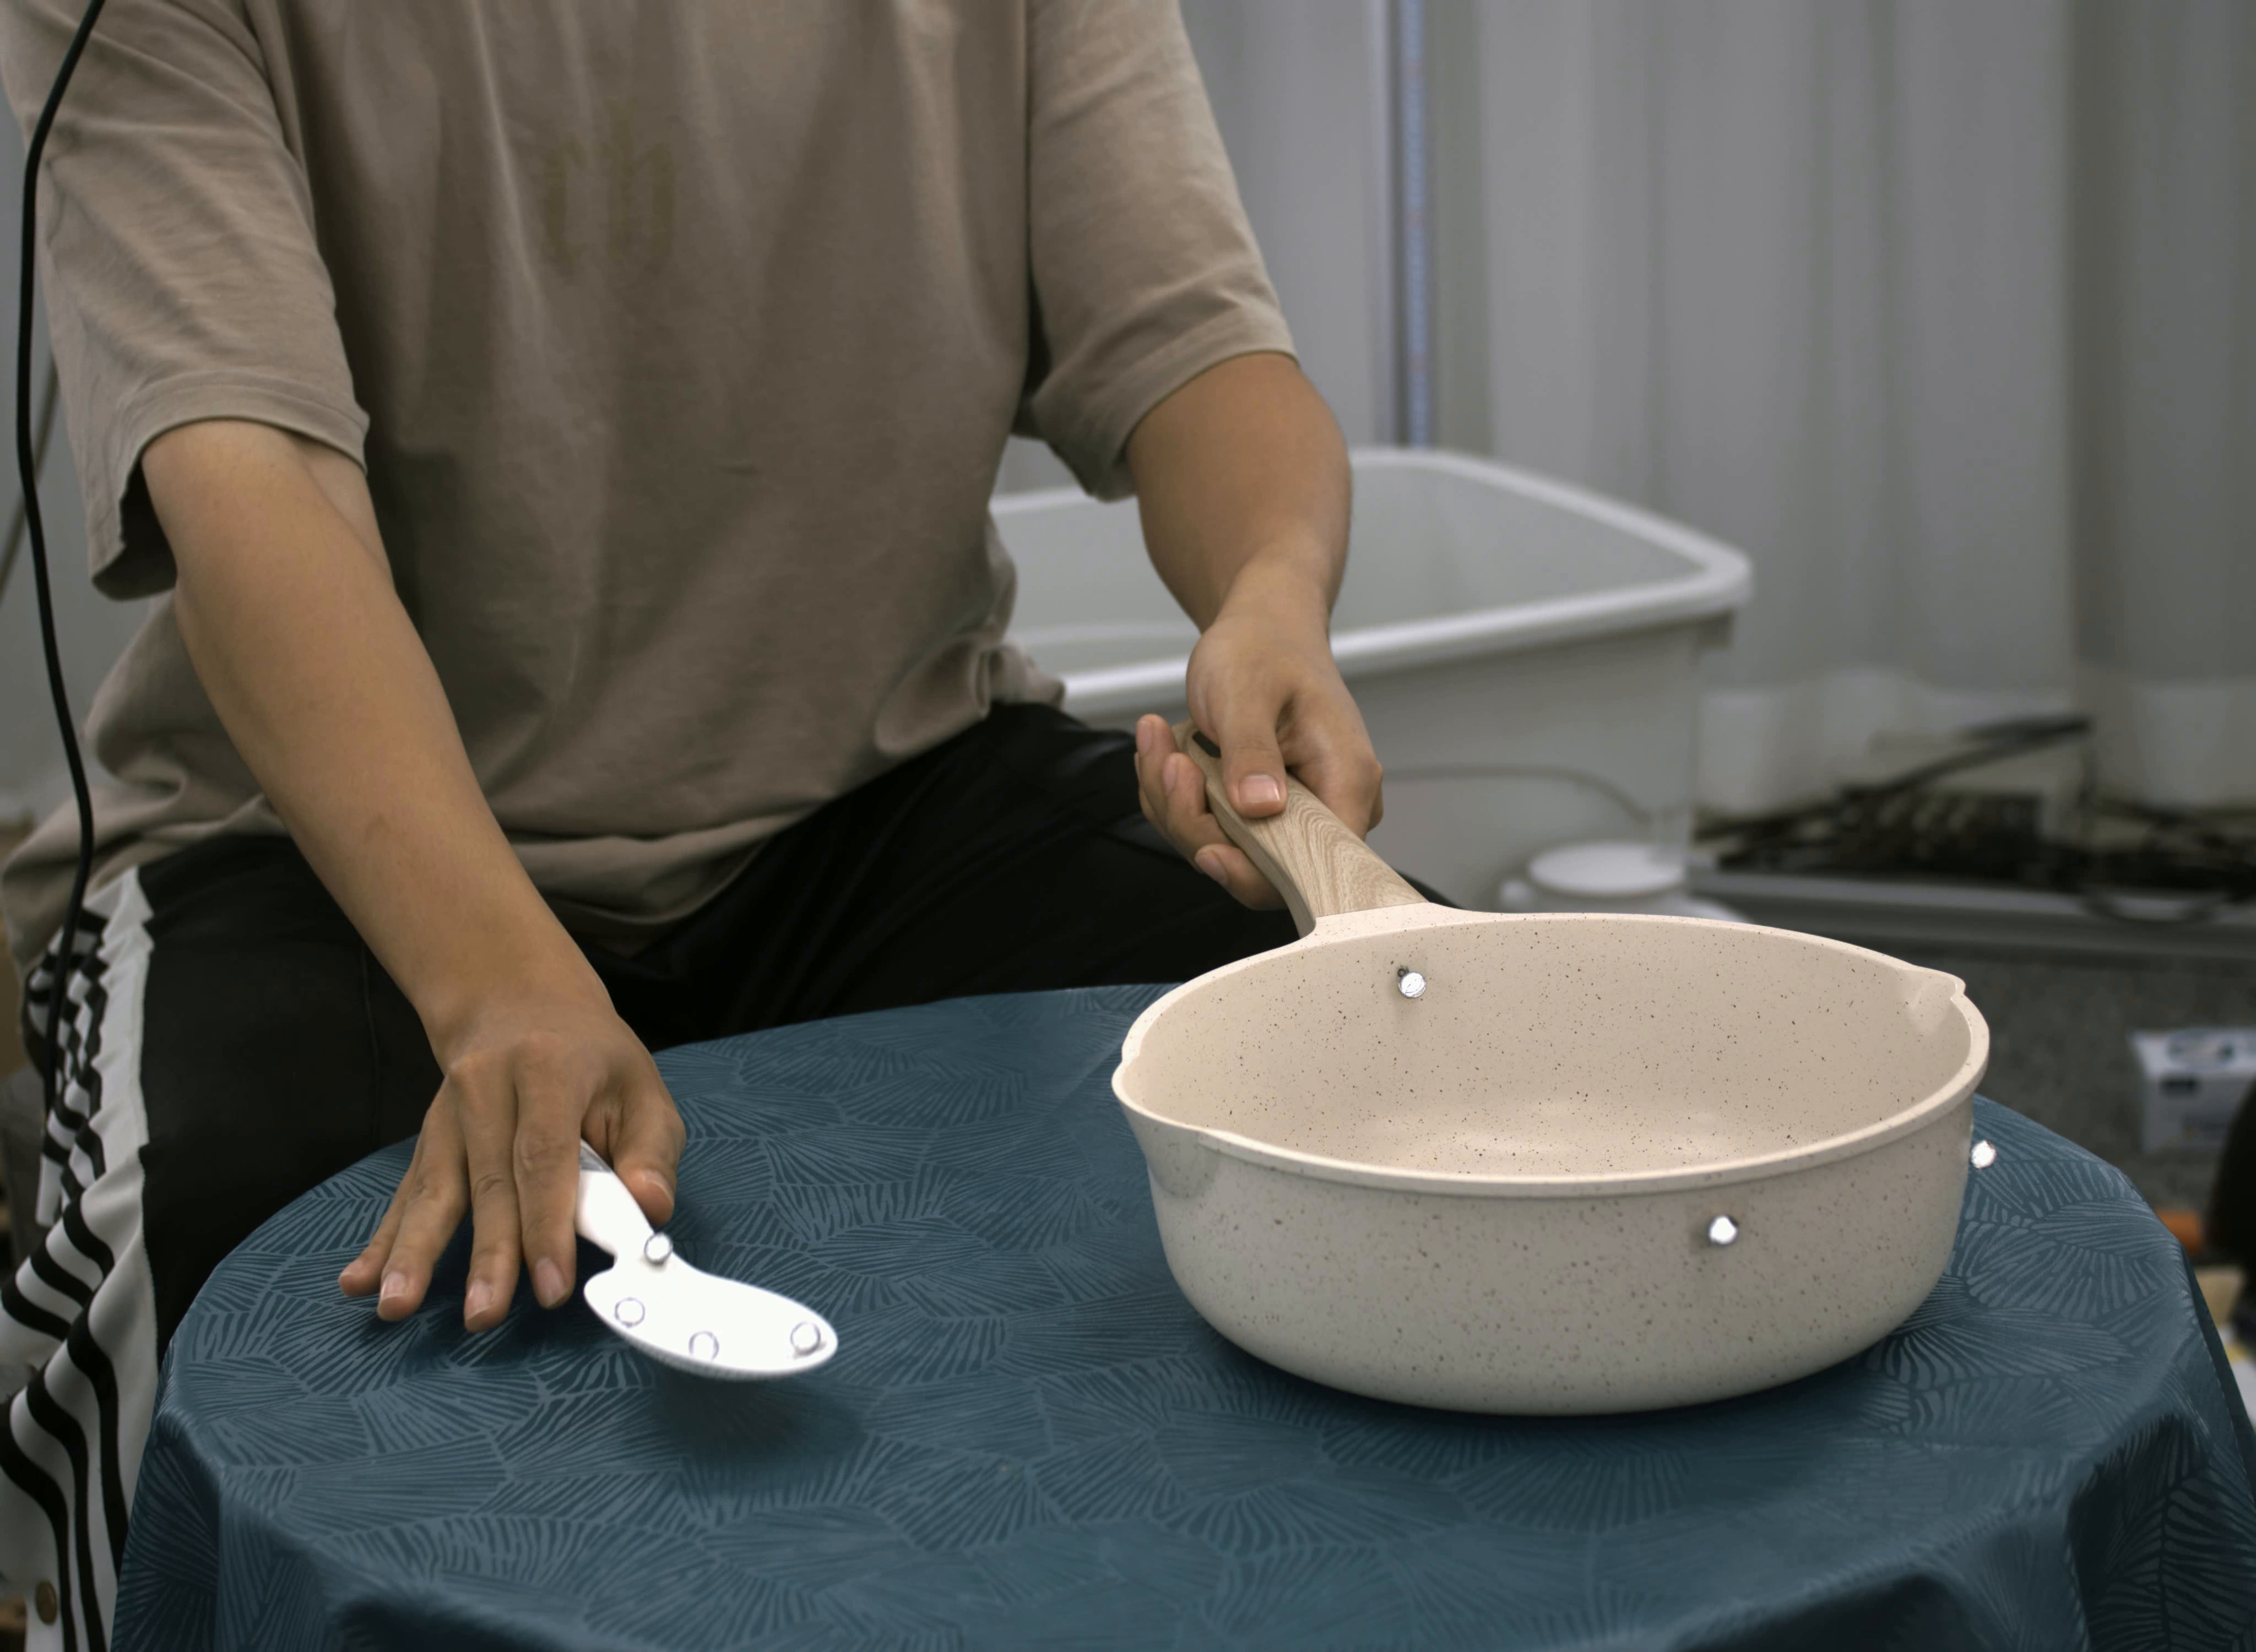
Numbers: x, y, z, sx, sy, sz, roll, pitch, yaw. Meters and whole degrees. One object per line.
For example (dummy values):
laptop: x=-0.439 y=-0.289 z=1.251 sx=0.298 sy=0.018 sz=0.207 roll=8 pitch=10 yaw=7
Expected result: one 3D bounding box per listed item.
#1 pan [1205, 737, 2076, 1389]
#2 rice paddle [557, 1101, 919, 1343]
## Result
pan: x=0.120 y=0.066 z=1.680 sx=0.262 sy=0.101 sz=0.438 roll=-10 pitch=16 yaw=-17
rice paddle: x=-0.118 y=0.117 z=1.590 sx=0.068 sy=0.029 sz=0.207 roll=3 pitch=9 yaw=-25
